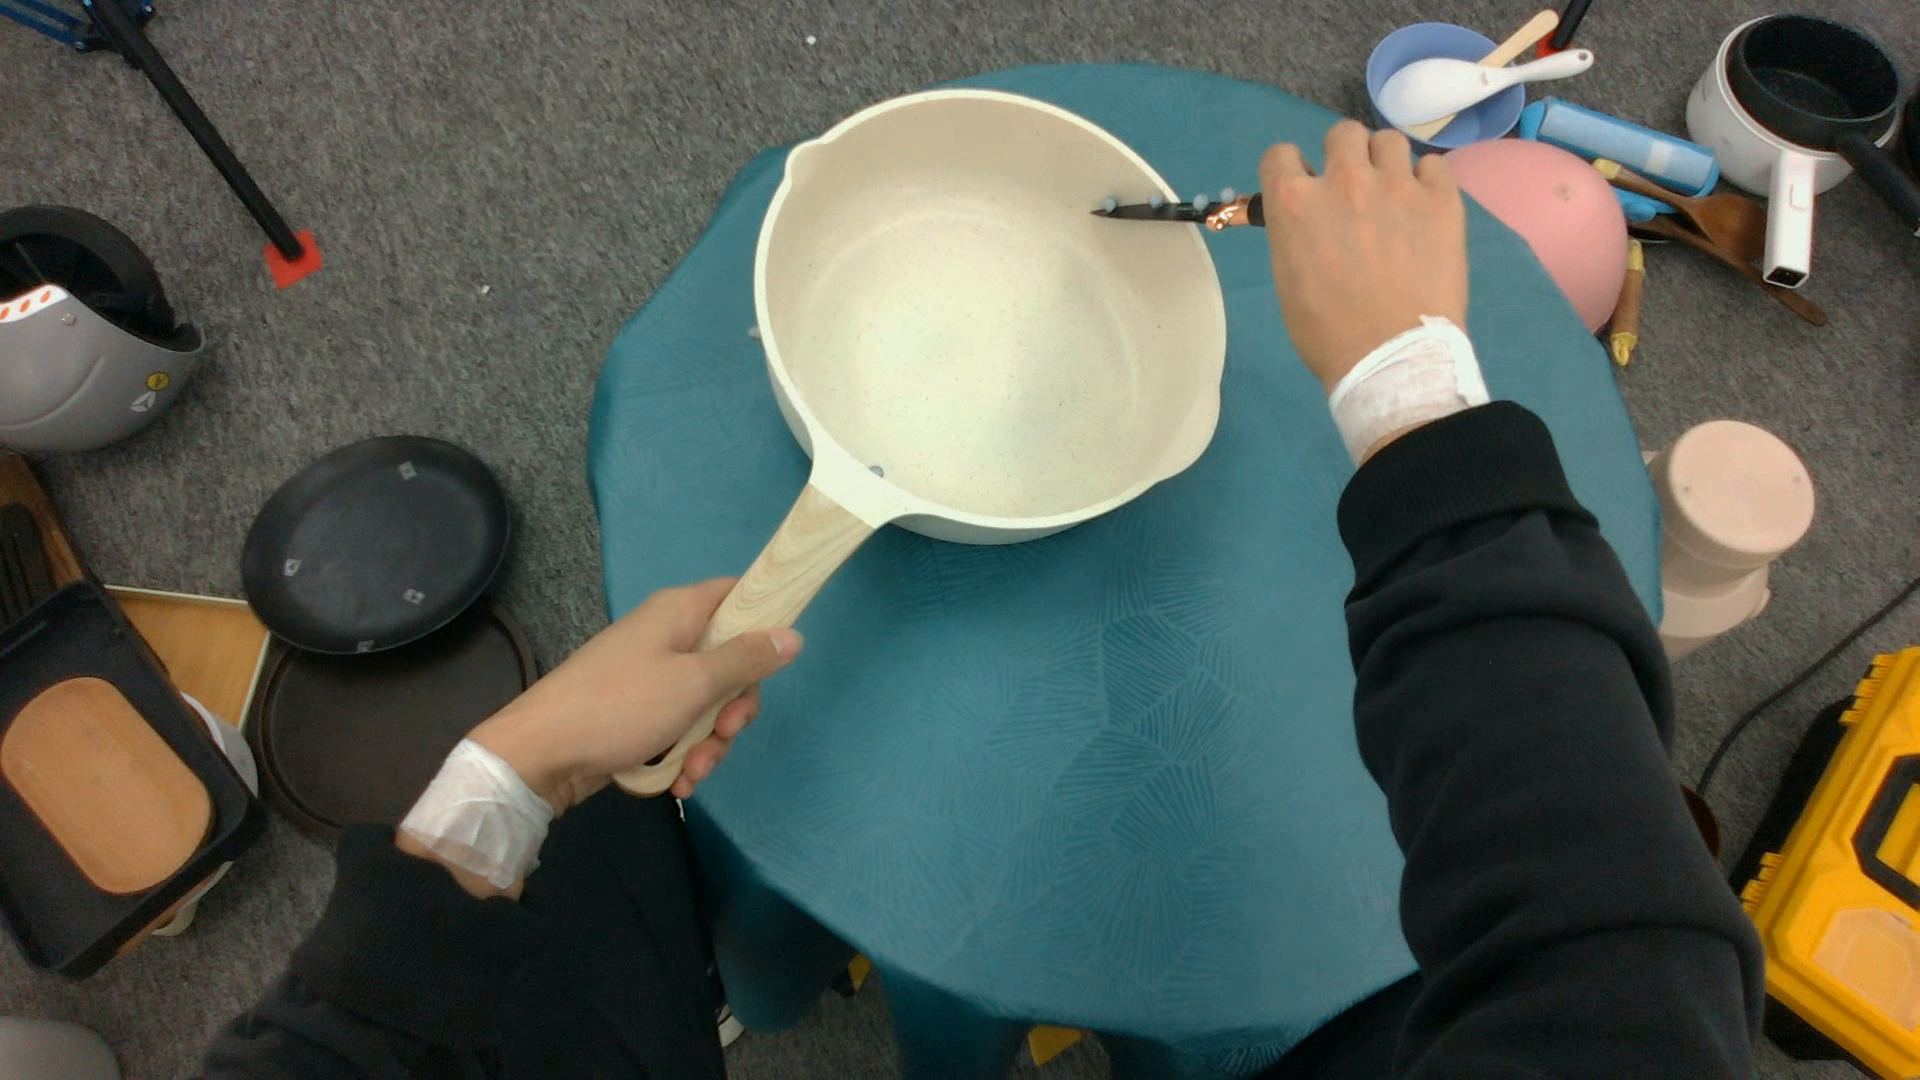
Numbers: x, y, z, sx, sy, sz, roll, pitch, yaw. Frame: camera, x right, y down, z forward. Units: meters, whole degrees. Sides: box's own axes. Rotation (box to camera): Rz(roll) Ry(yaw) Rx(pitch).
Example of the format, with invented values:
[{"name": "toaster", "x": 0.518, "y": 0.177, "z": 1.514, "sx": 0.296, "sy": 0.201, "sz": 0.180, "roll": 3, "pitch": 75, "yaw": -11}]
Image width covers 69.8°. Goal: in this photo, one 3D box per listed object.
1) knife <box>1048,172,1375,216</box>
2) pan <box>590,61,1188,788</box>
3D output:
[{"name": "knife", "x": 0.120, "y": -0.179, "z": 0.712, "sx": 0.026, "sy": 0.017, "sz": 0.225, "roll": -49, "pitch": 34, "yaw": -16}, {"name": "pan", "x": -0.053, "y": -0.057, "z": 0.703, "sx": 0.263, "sy": 0.101, "sz": 0.436, "roll": 35, "pitch": 67, "yaw": -4}]
